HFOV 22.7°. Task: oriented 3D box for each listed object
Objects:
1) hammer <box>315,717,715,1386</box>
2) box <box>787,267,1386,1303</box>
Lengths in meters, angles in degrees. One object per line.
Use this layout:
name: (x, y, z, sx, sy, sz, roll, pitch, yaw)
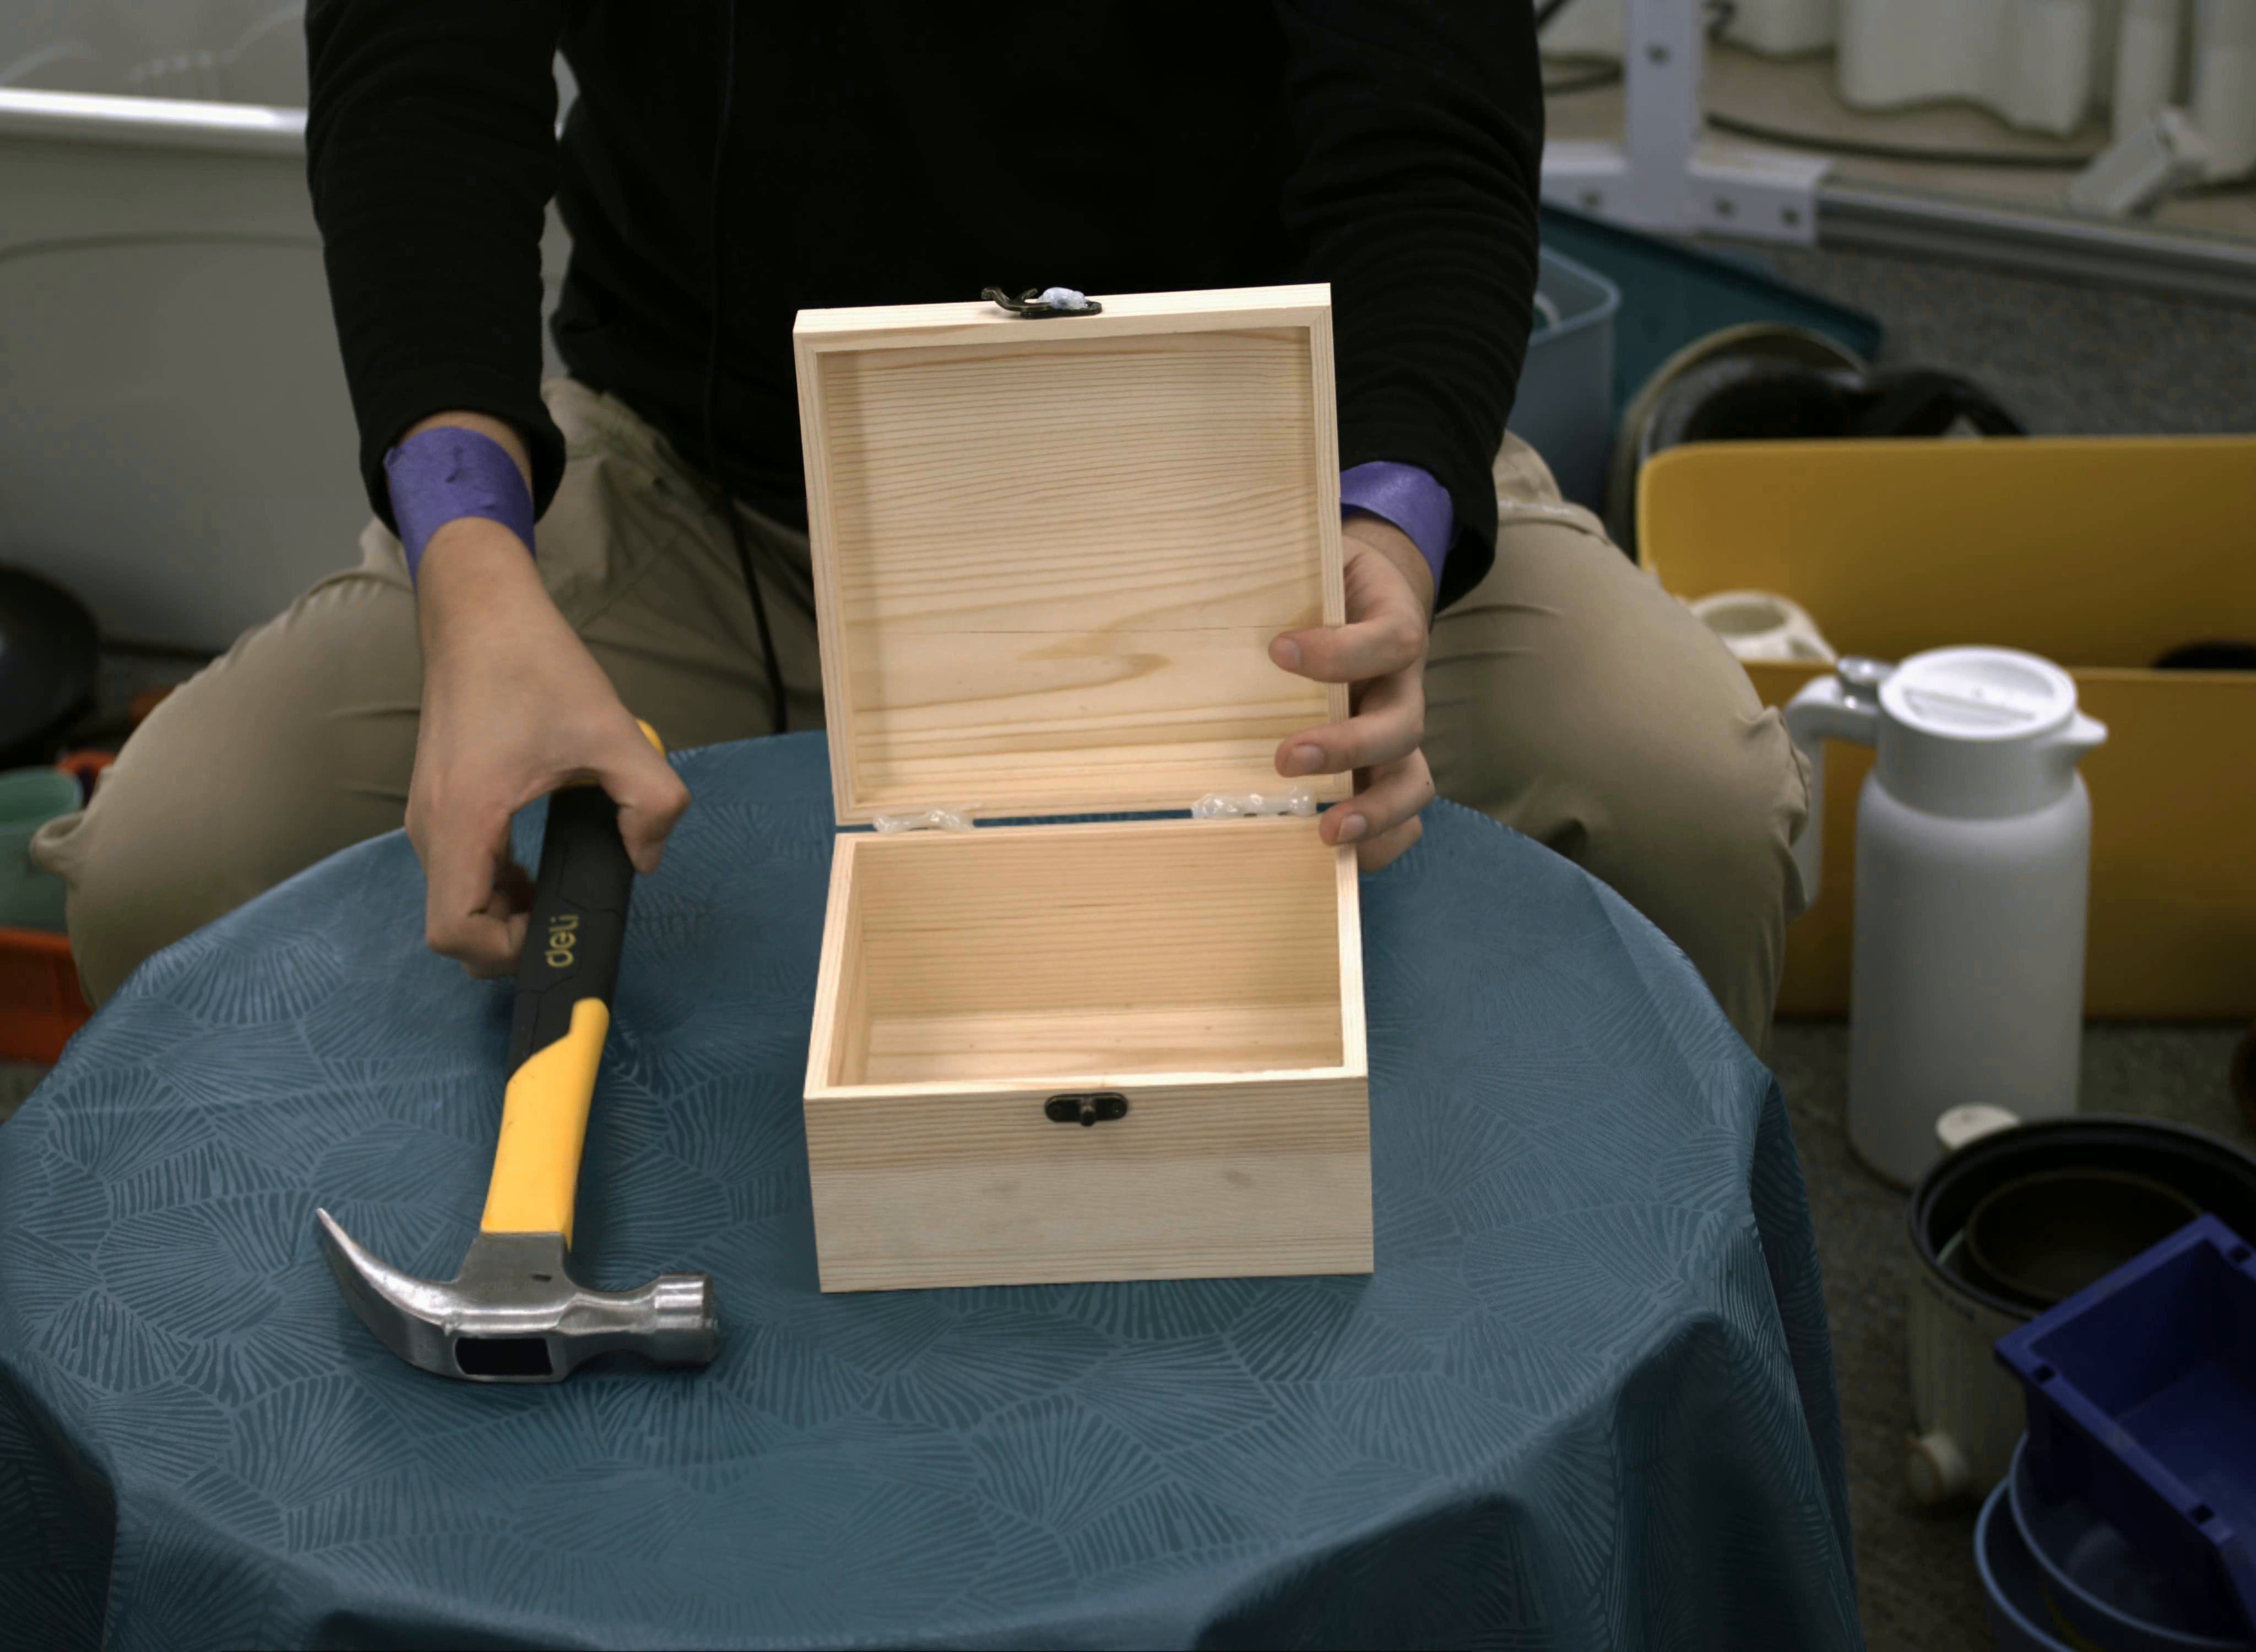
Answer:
hammer: (-0.191, 0.068, 1.902, 0.130, 0.032, 0.345, -1, 35, 4)
box: (-0.016, -0.019, 1.865, 0.181, 0.250, 0.269, -4, 27, 2)
